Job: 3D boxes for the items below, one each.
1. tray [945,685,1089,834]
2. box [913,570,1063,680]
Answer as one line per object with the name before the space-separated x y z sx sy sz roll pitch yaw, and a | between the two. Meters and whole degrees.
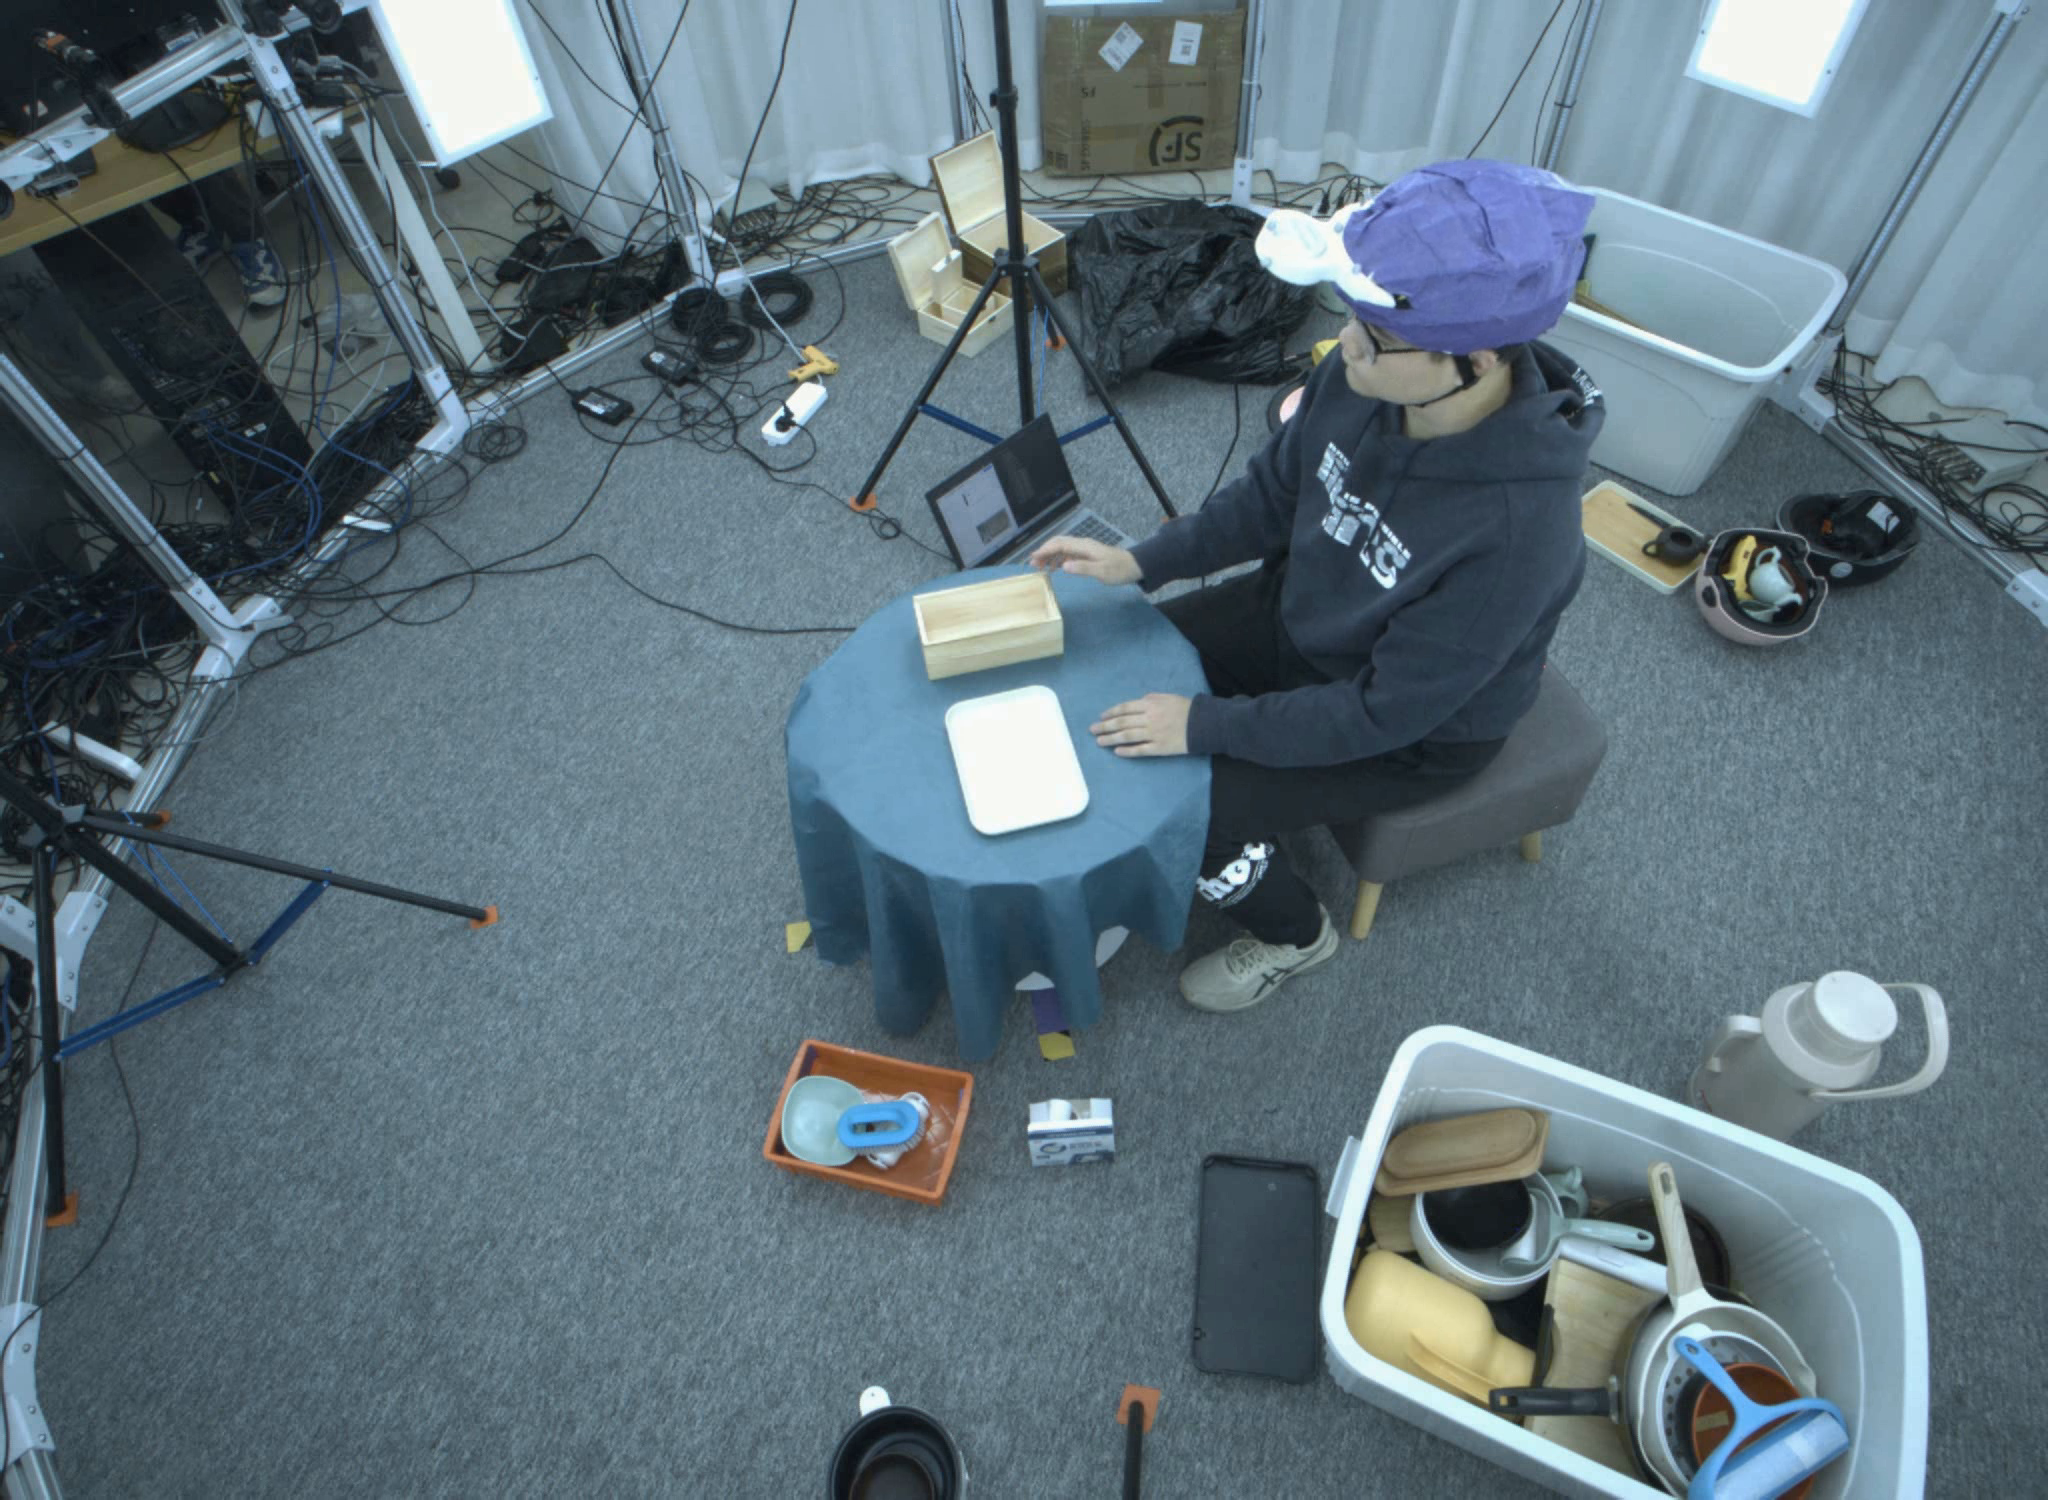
tray | -0.012 0.013 1.769 0.172 0.017 0.236 -12 55 -8
box | -0.055 -0.191 1.875 0.212 0.081 0.106 -12 56 -7
